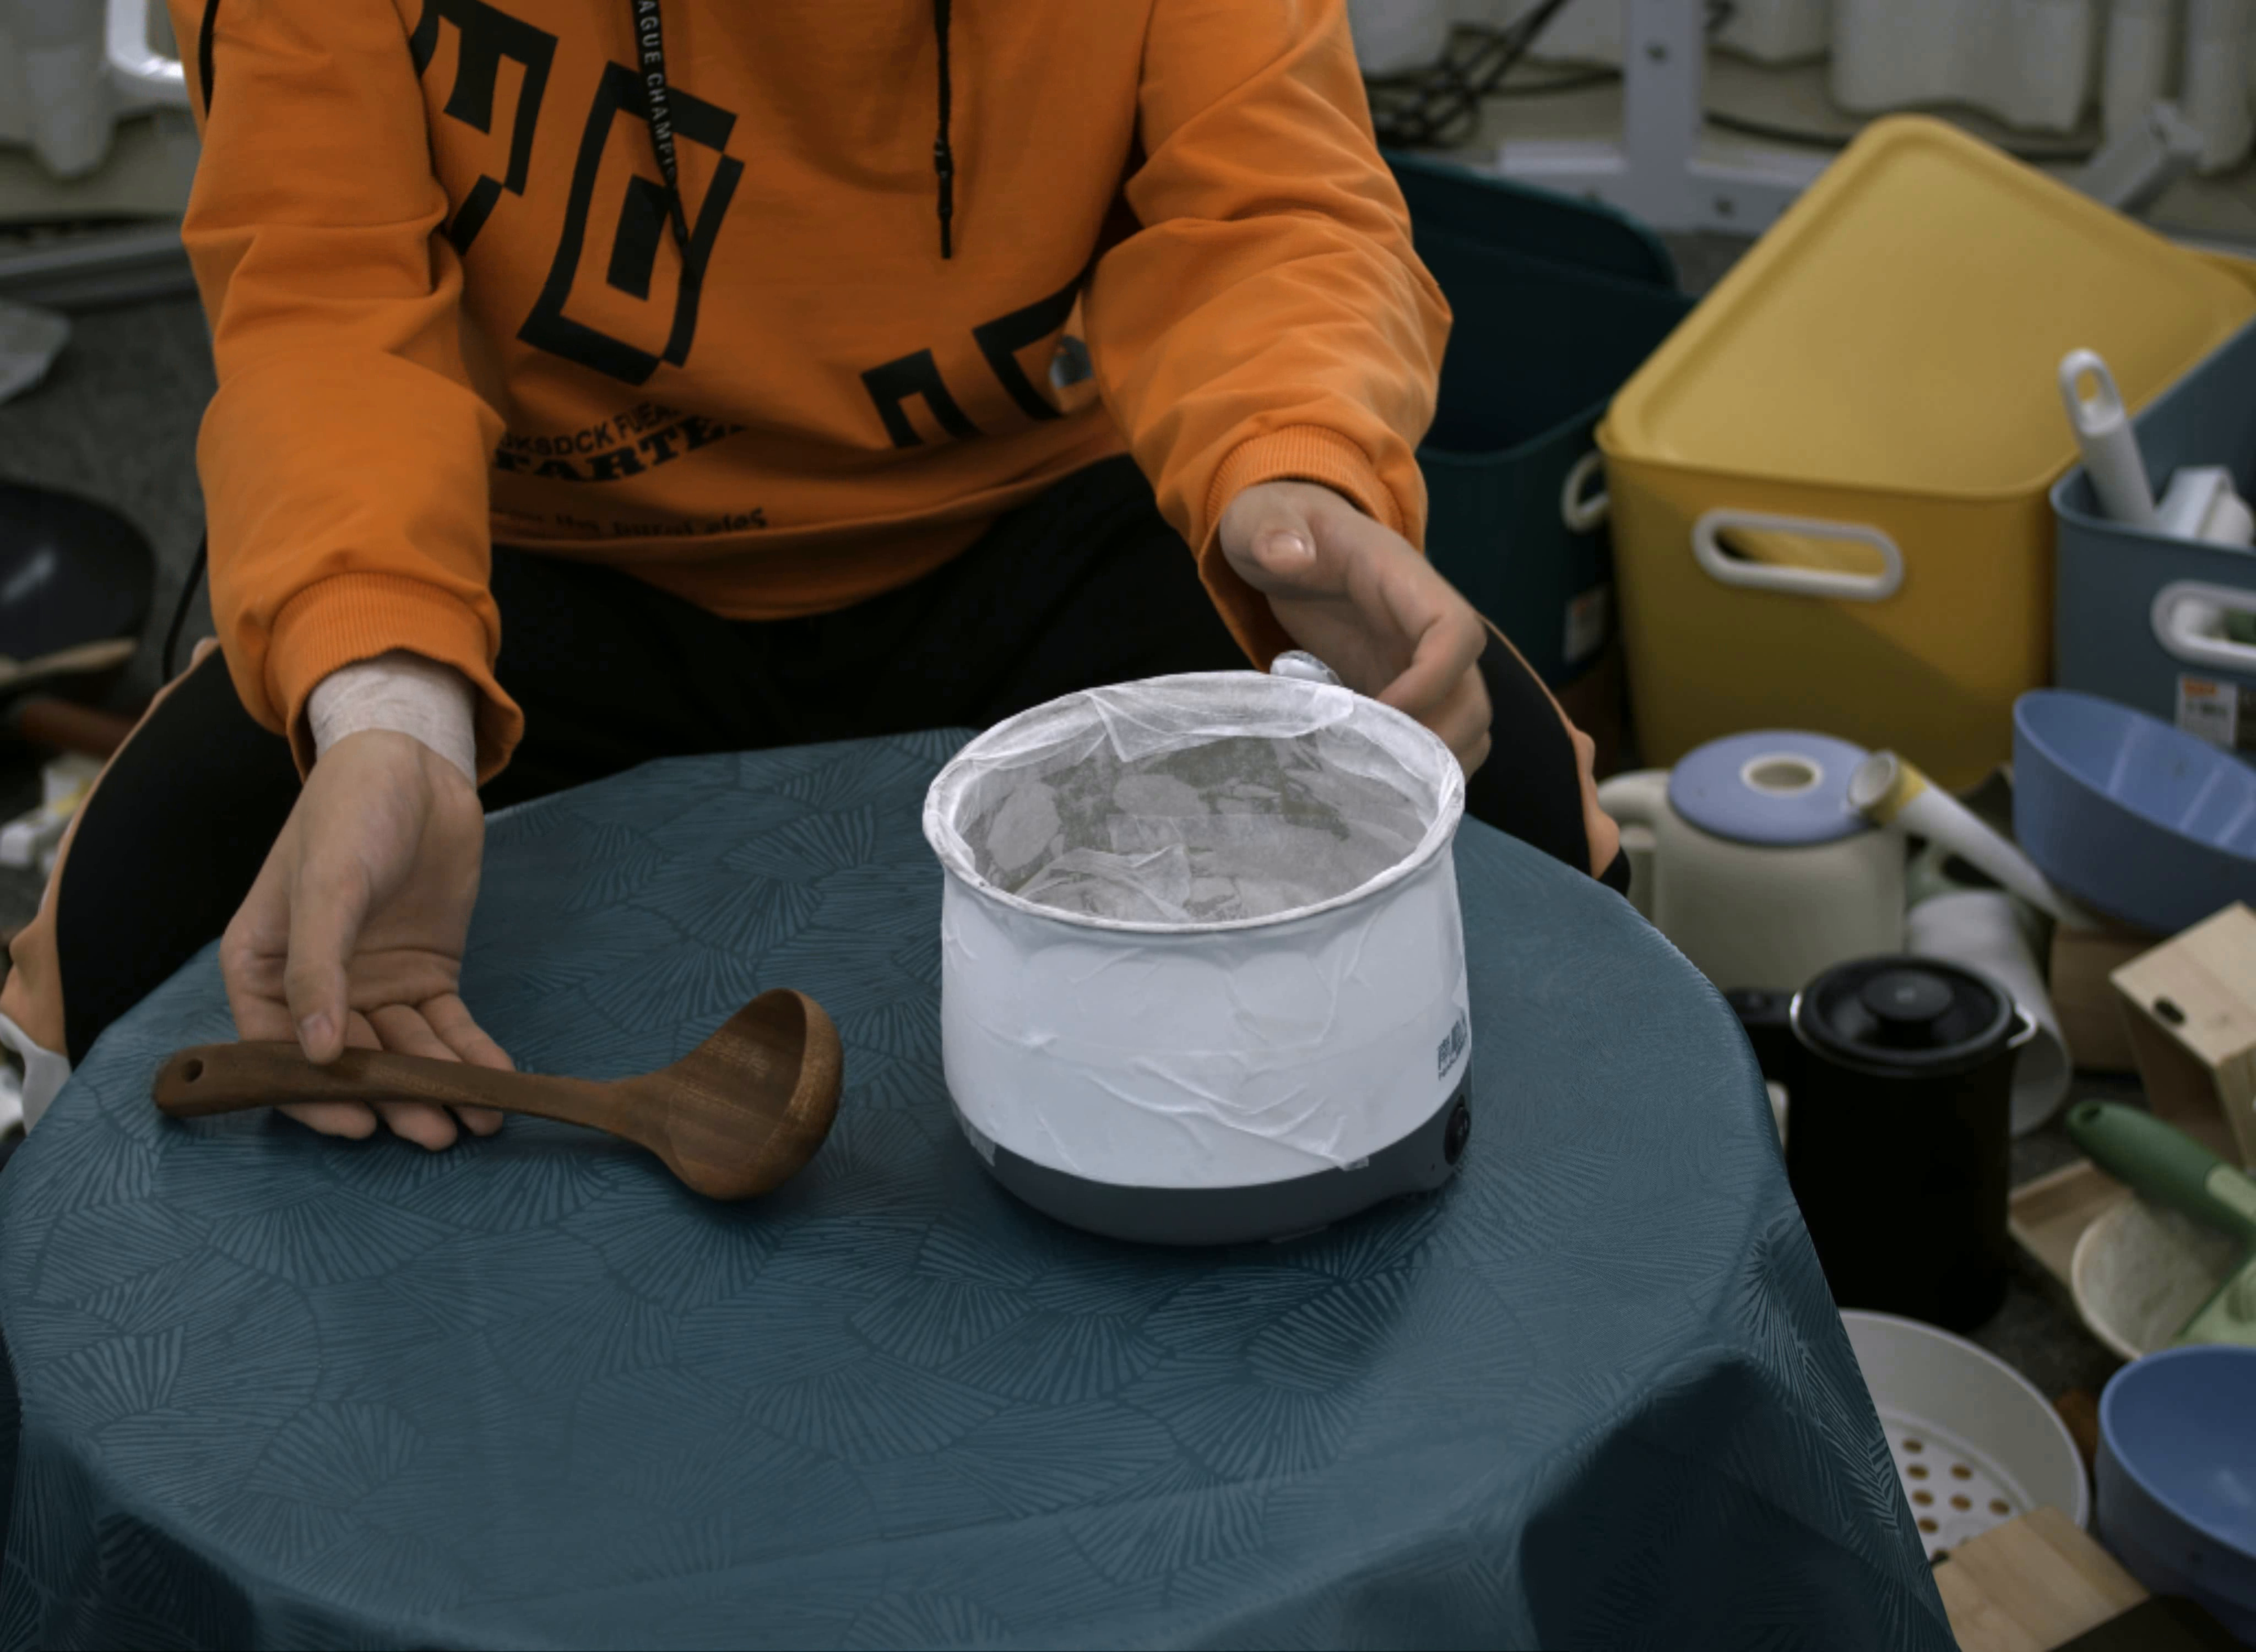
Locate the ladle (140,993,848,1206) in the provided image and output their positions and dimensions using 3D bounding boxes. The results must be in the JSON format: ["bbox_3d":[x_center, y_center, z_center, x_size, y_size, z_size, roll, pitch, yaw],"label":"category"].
[{"bbox_3d":[-0.217,0.085,1.889,0.258,0.064,0.078,5,53,13],"label":"ladle"}]

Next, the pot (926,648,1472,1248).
[{"bbox_3d":[0.034,0.033,1.882,0.177,0.135,0.238,7,29,18],"label":"pot"}]
